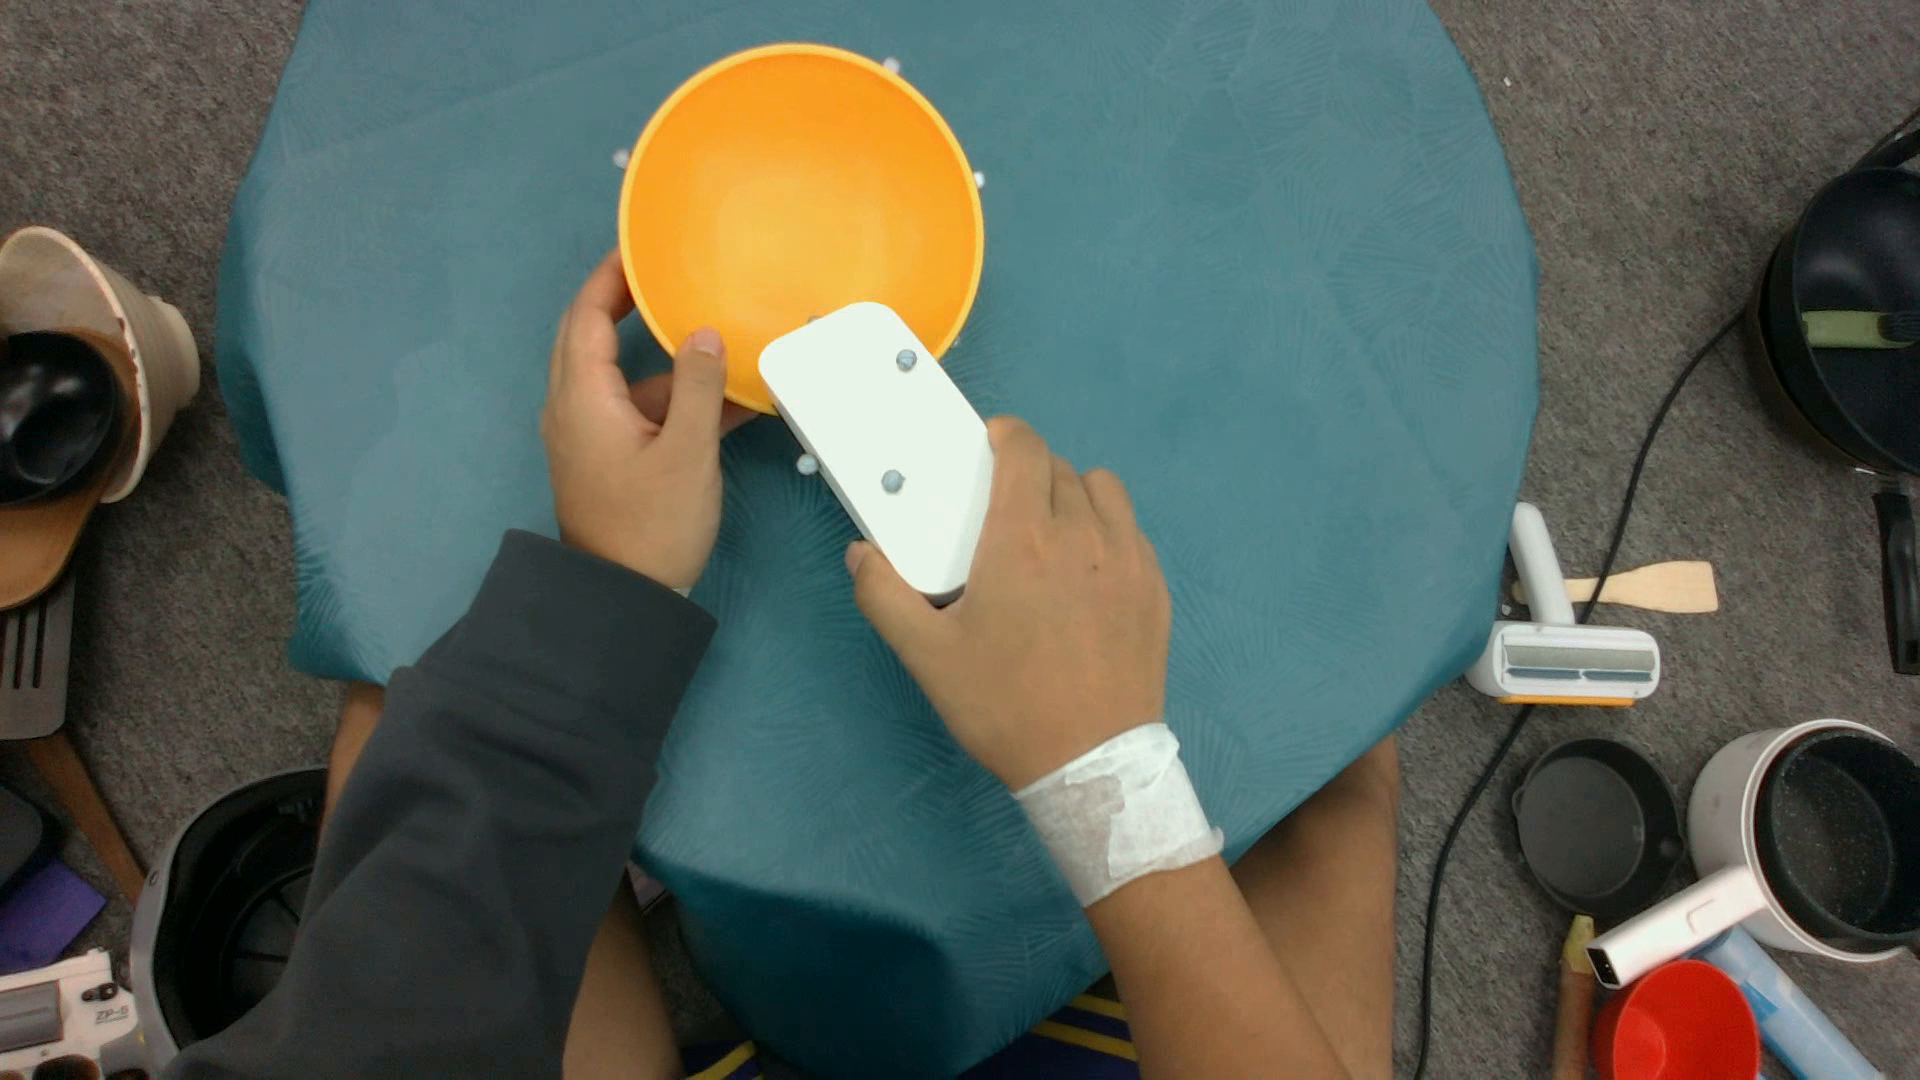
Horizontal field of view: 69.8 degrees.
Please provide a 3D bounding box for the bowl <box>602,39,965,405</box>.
[{"bbox_3d":[-0.075,-0.131,0.577,0.145,0.060,0.145,-3,104,-13],"label":"bowl"}]

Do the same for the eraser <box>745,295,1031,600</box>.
[{"bbox_3d":[-0.030,-0.038,0.532,0.063,0.034,0.131,-29,65,-17],"label":"eraser"}]
